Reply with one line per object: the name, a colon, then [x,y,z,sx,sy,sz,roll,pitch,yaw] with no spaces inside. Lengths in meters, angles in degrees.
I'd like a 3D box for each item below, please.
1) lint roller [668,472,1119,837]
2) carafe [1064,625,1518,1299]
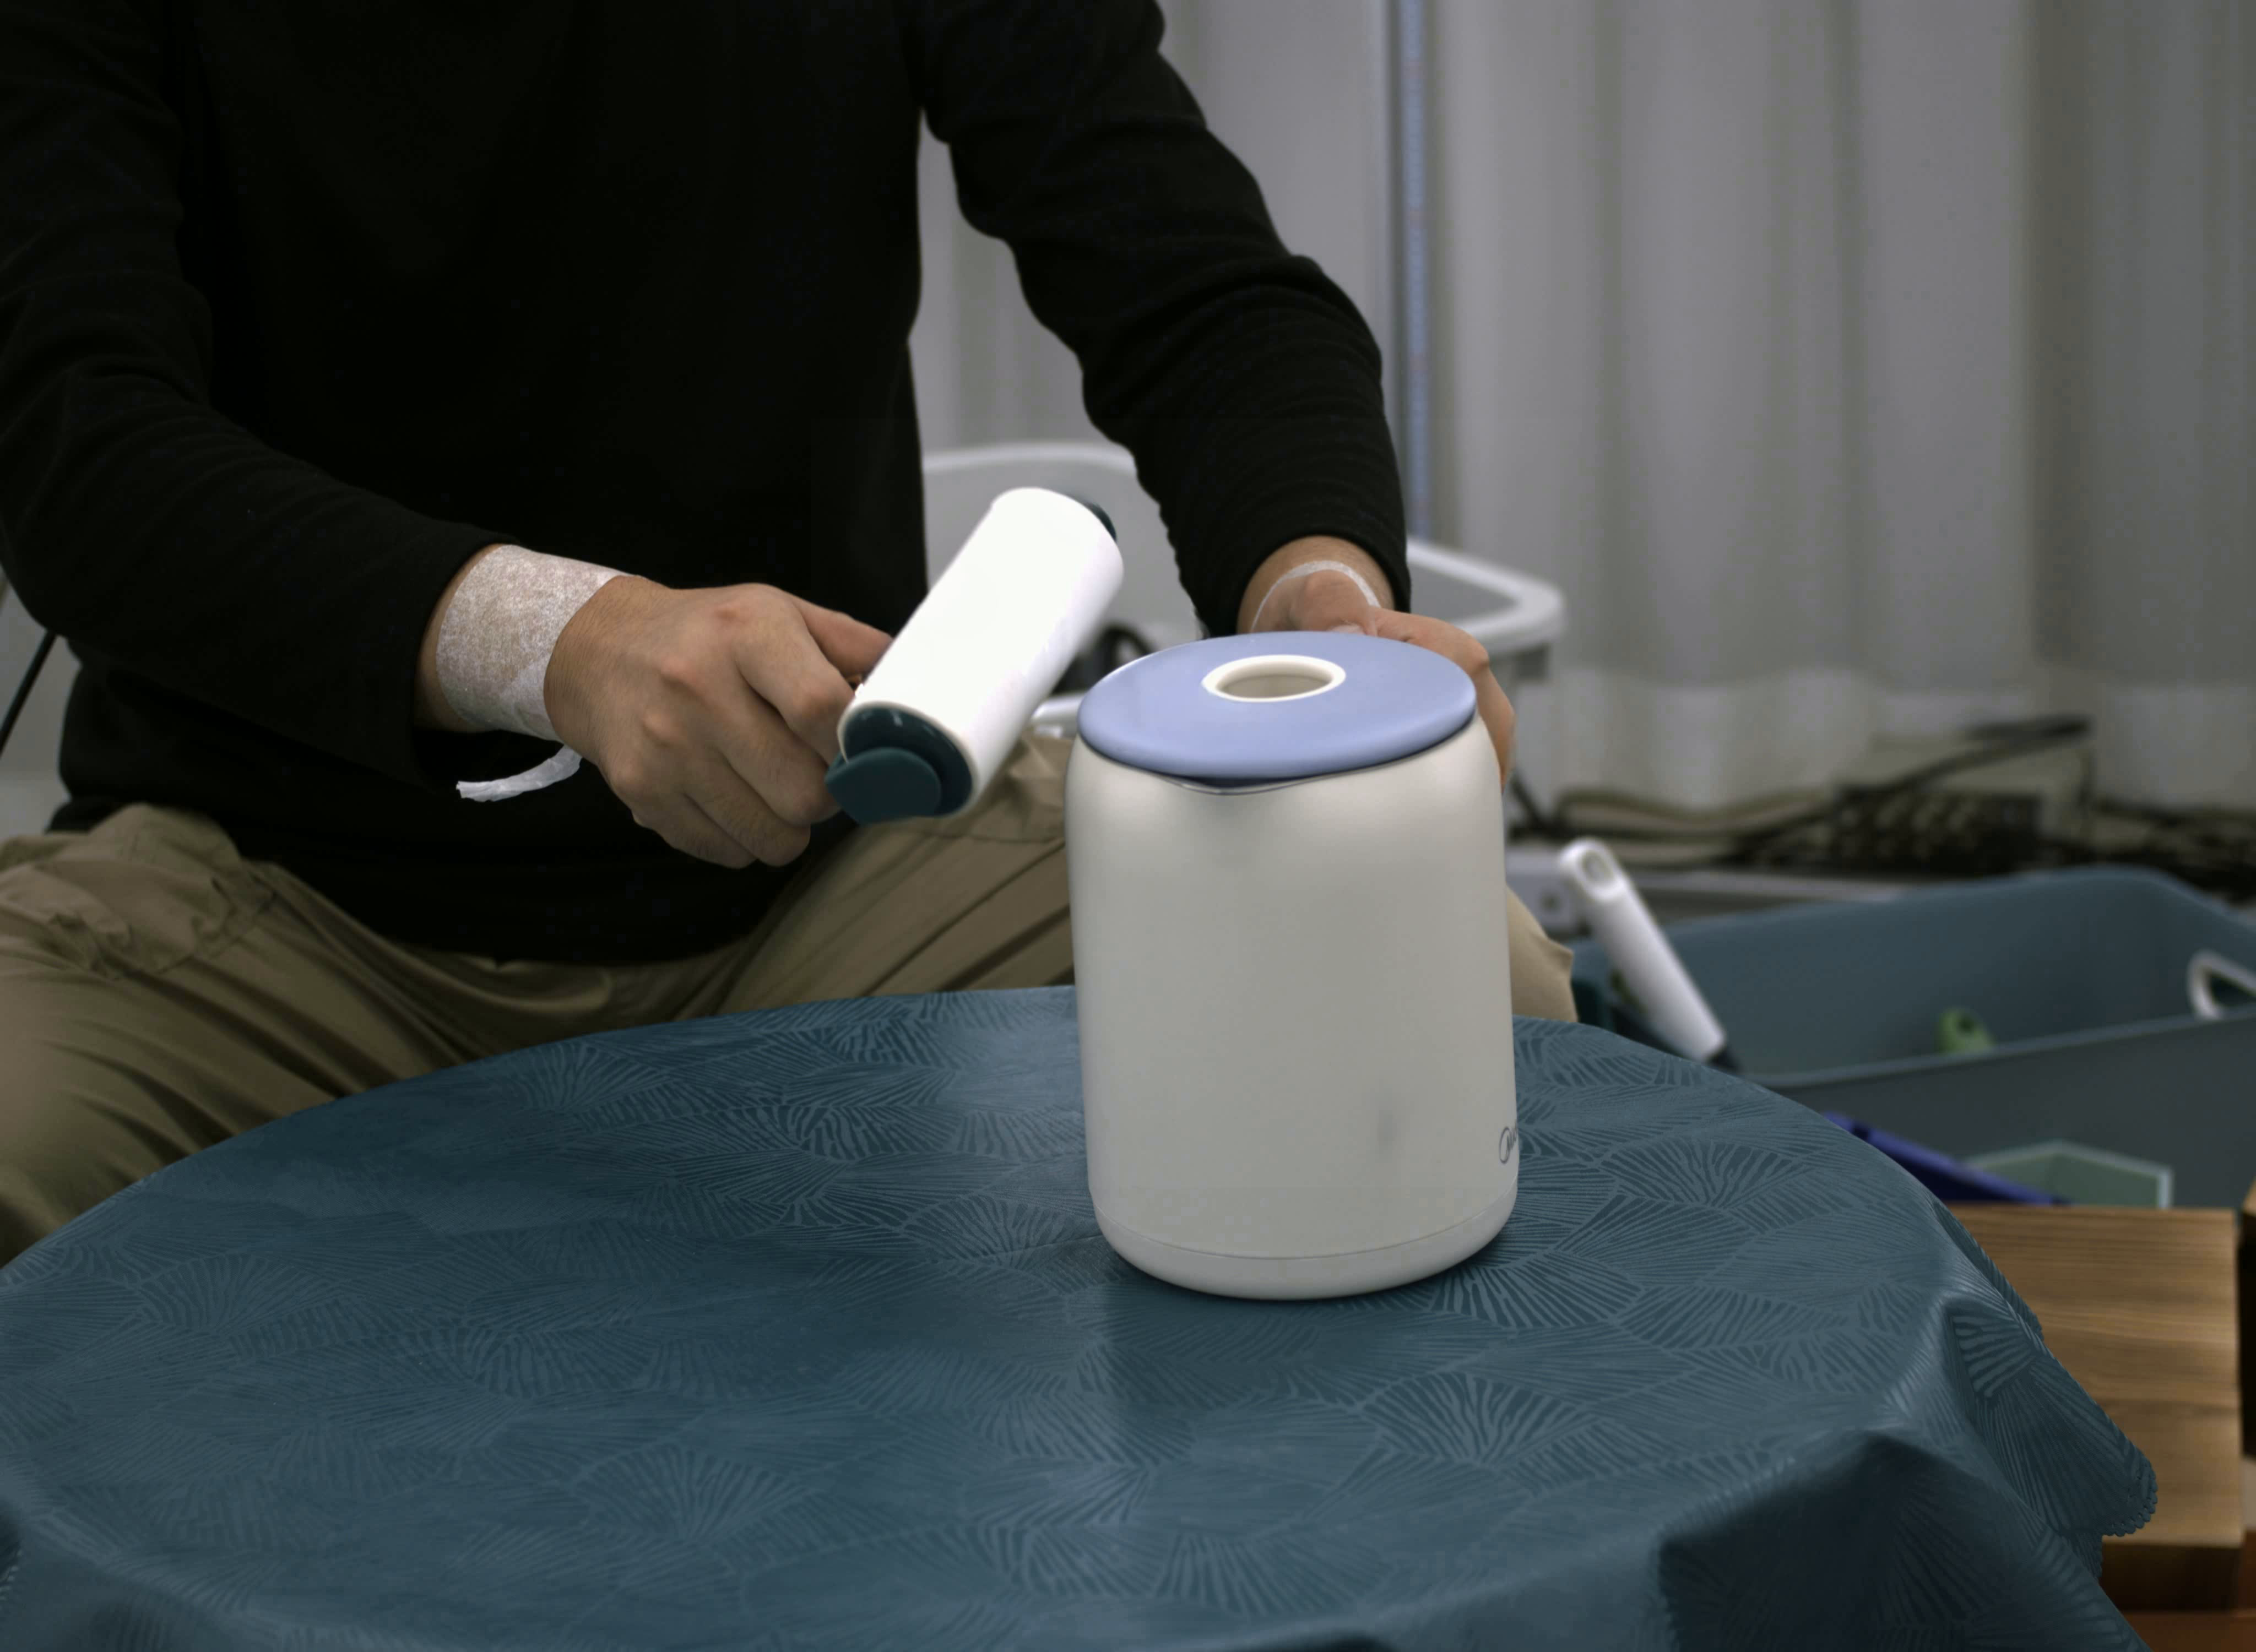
lint roller: [-0.091,-0.038,1.681,0.180,0.048,0.135,-14,31,42]
carafe: [0.054,0.031,1.659,0.132,0.181,0.192,2,18,13]
